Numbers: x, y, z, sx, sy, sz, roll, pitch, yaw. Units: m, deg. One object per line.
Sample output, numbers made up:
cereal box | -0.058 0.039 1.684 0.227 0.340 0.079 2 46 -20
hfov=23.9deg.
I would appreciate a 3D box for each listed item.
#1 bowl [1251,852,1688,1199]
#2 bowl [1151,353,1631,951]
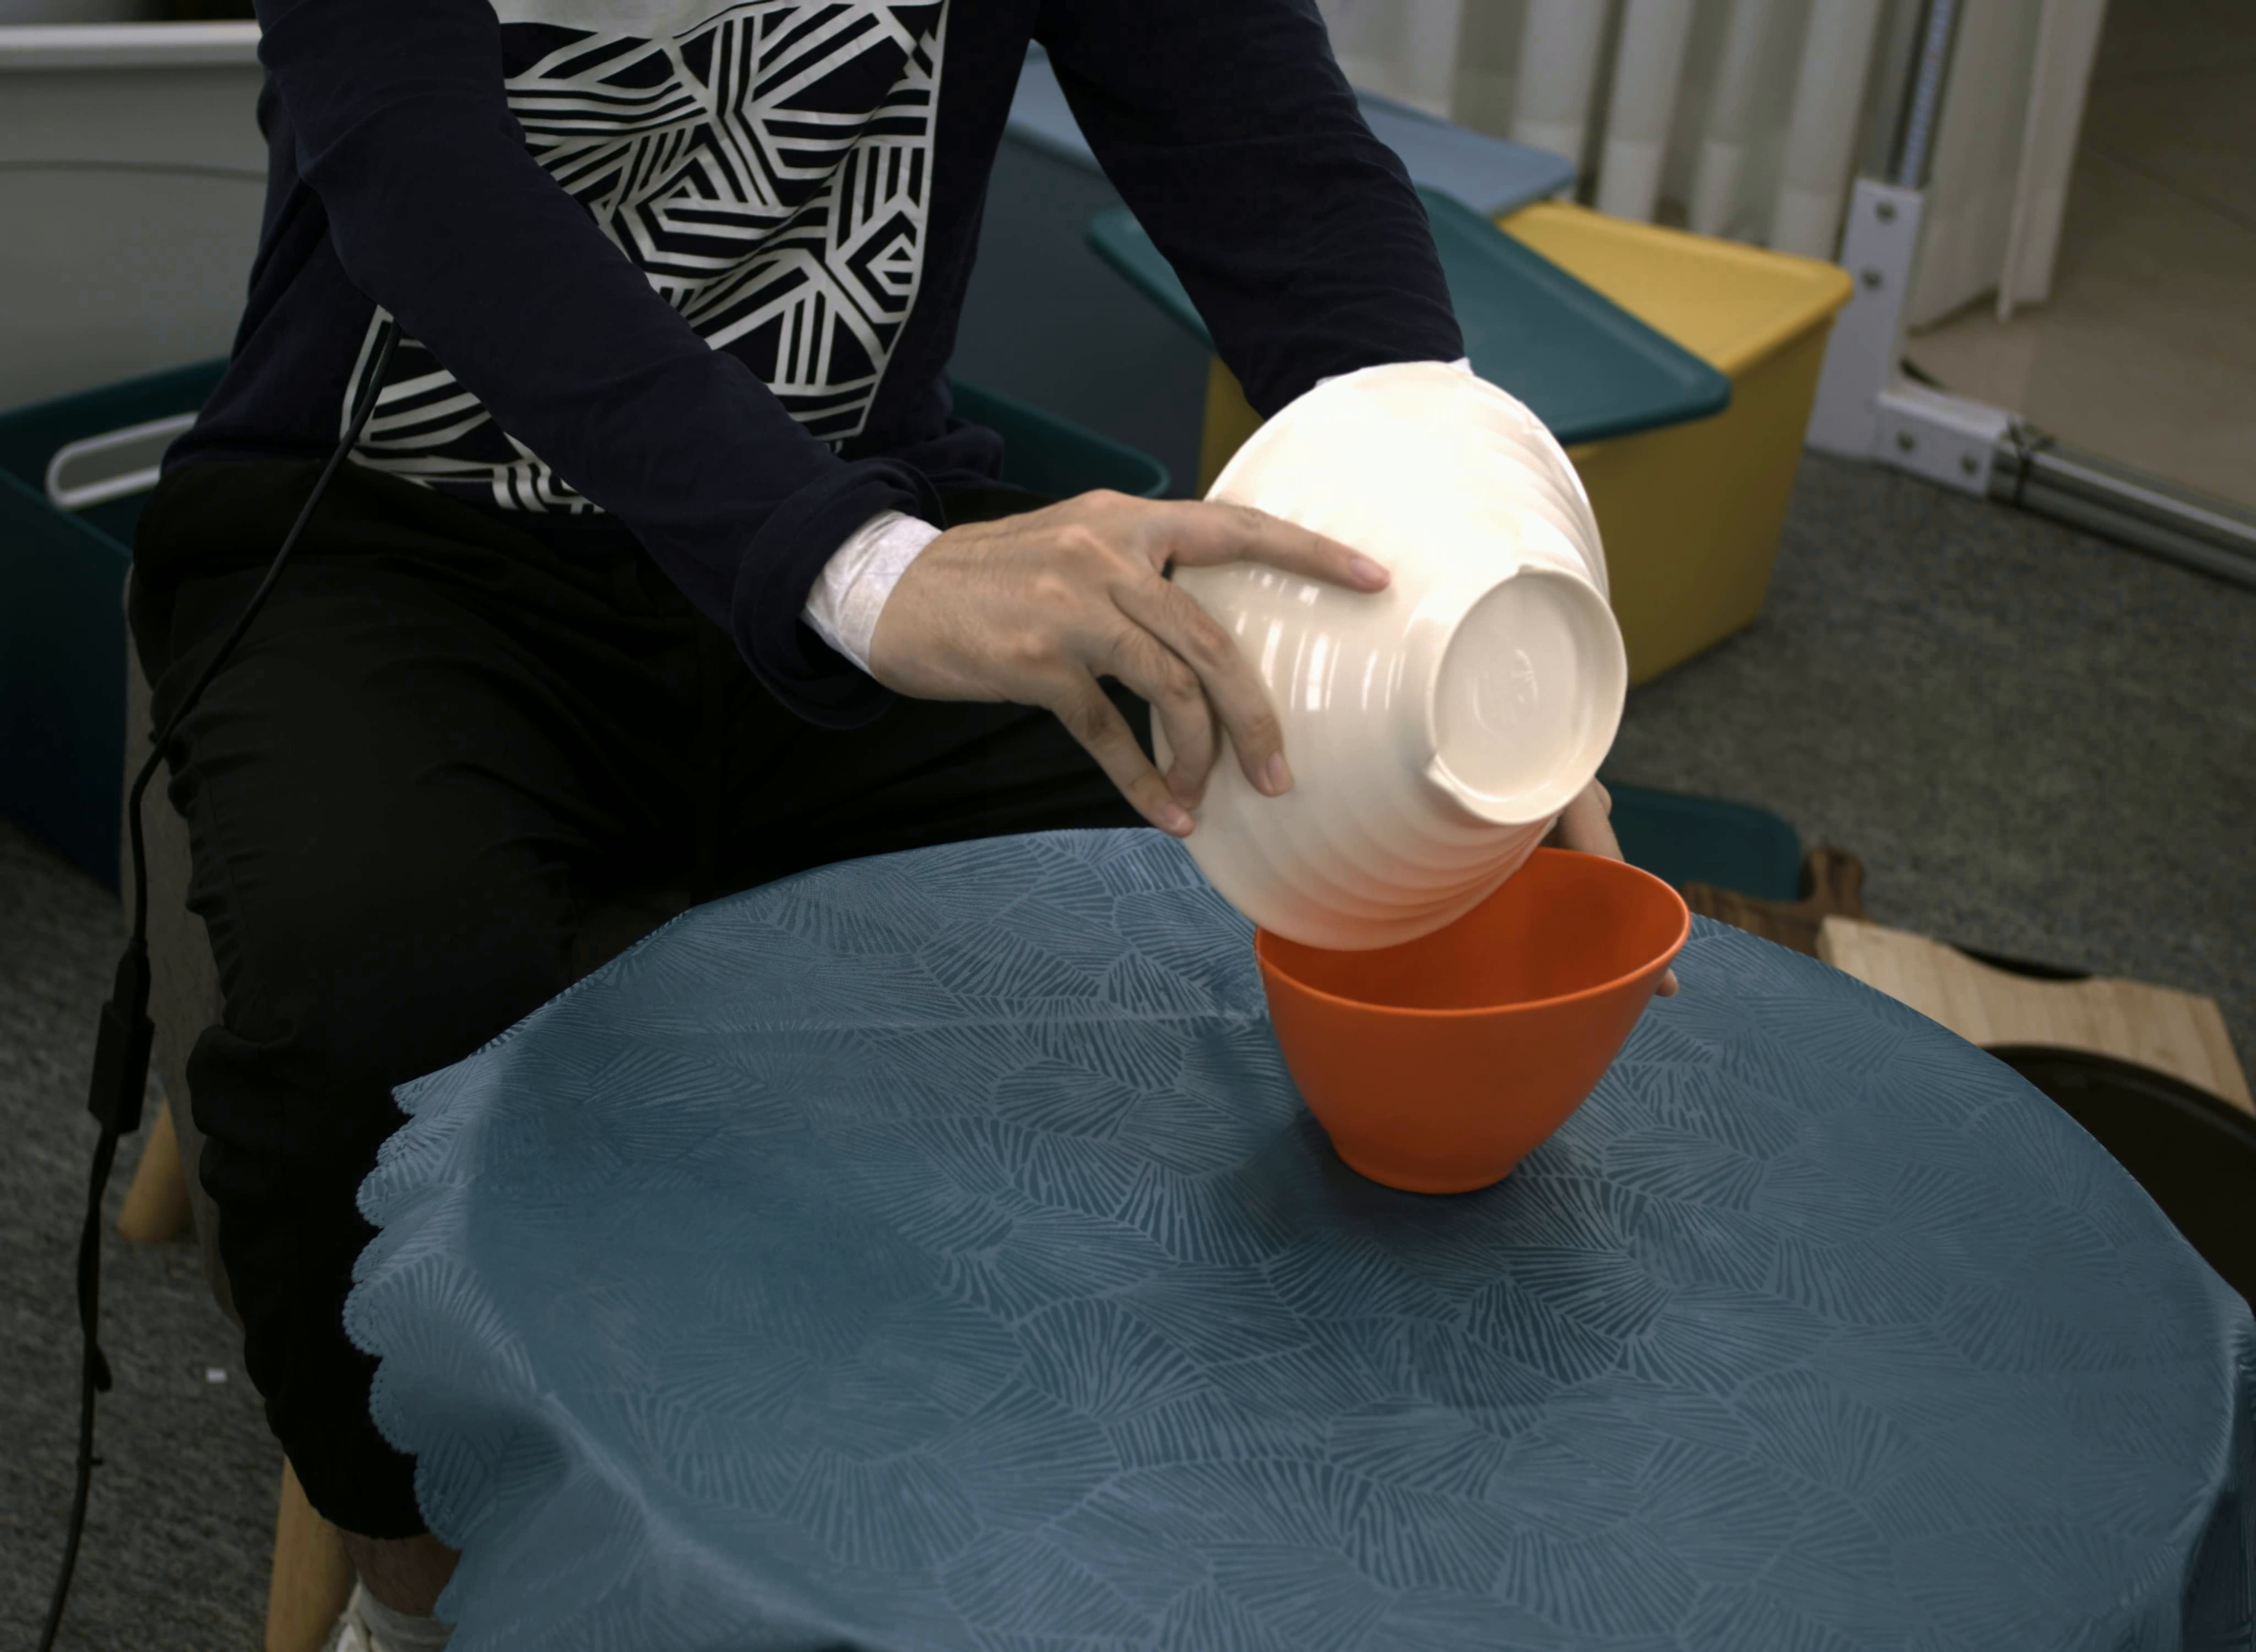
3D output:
bowl | 0.114 0.071 1.821 0.147 0.104 0.149 1 26 -1
bowl | 0.111 -0.053 1.780 0.203 0.204 0.078 -13 16 -35
